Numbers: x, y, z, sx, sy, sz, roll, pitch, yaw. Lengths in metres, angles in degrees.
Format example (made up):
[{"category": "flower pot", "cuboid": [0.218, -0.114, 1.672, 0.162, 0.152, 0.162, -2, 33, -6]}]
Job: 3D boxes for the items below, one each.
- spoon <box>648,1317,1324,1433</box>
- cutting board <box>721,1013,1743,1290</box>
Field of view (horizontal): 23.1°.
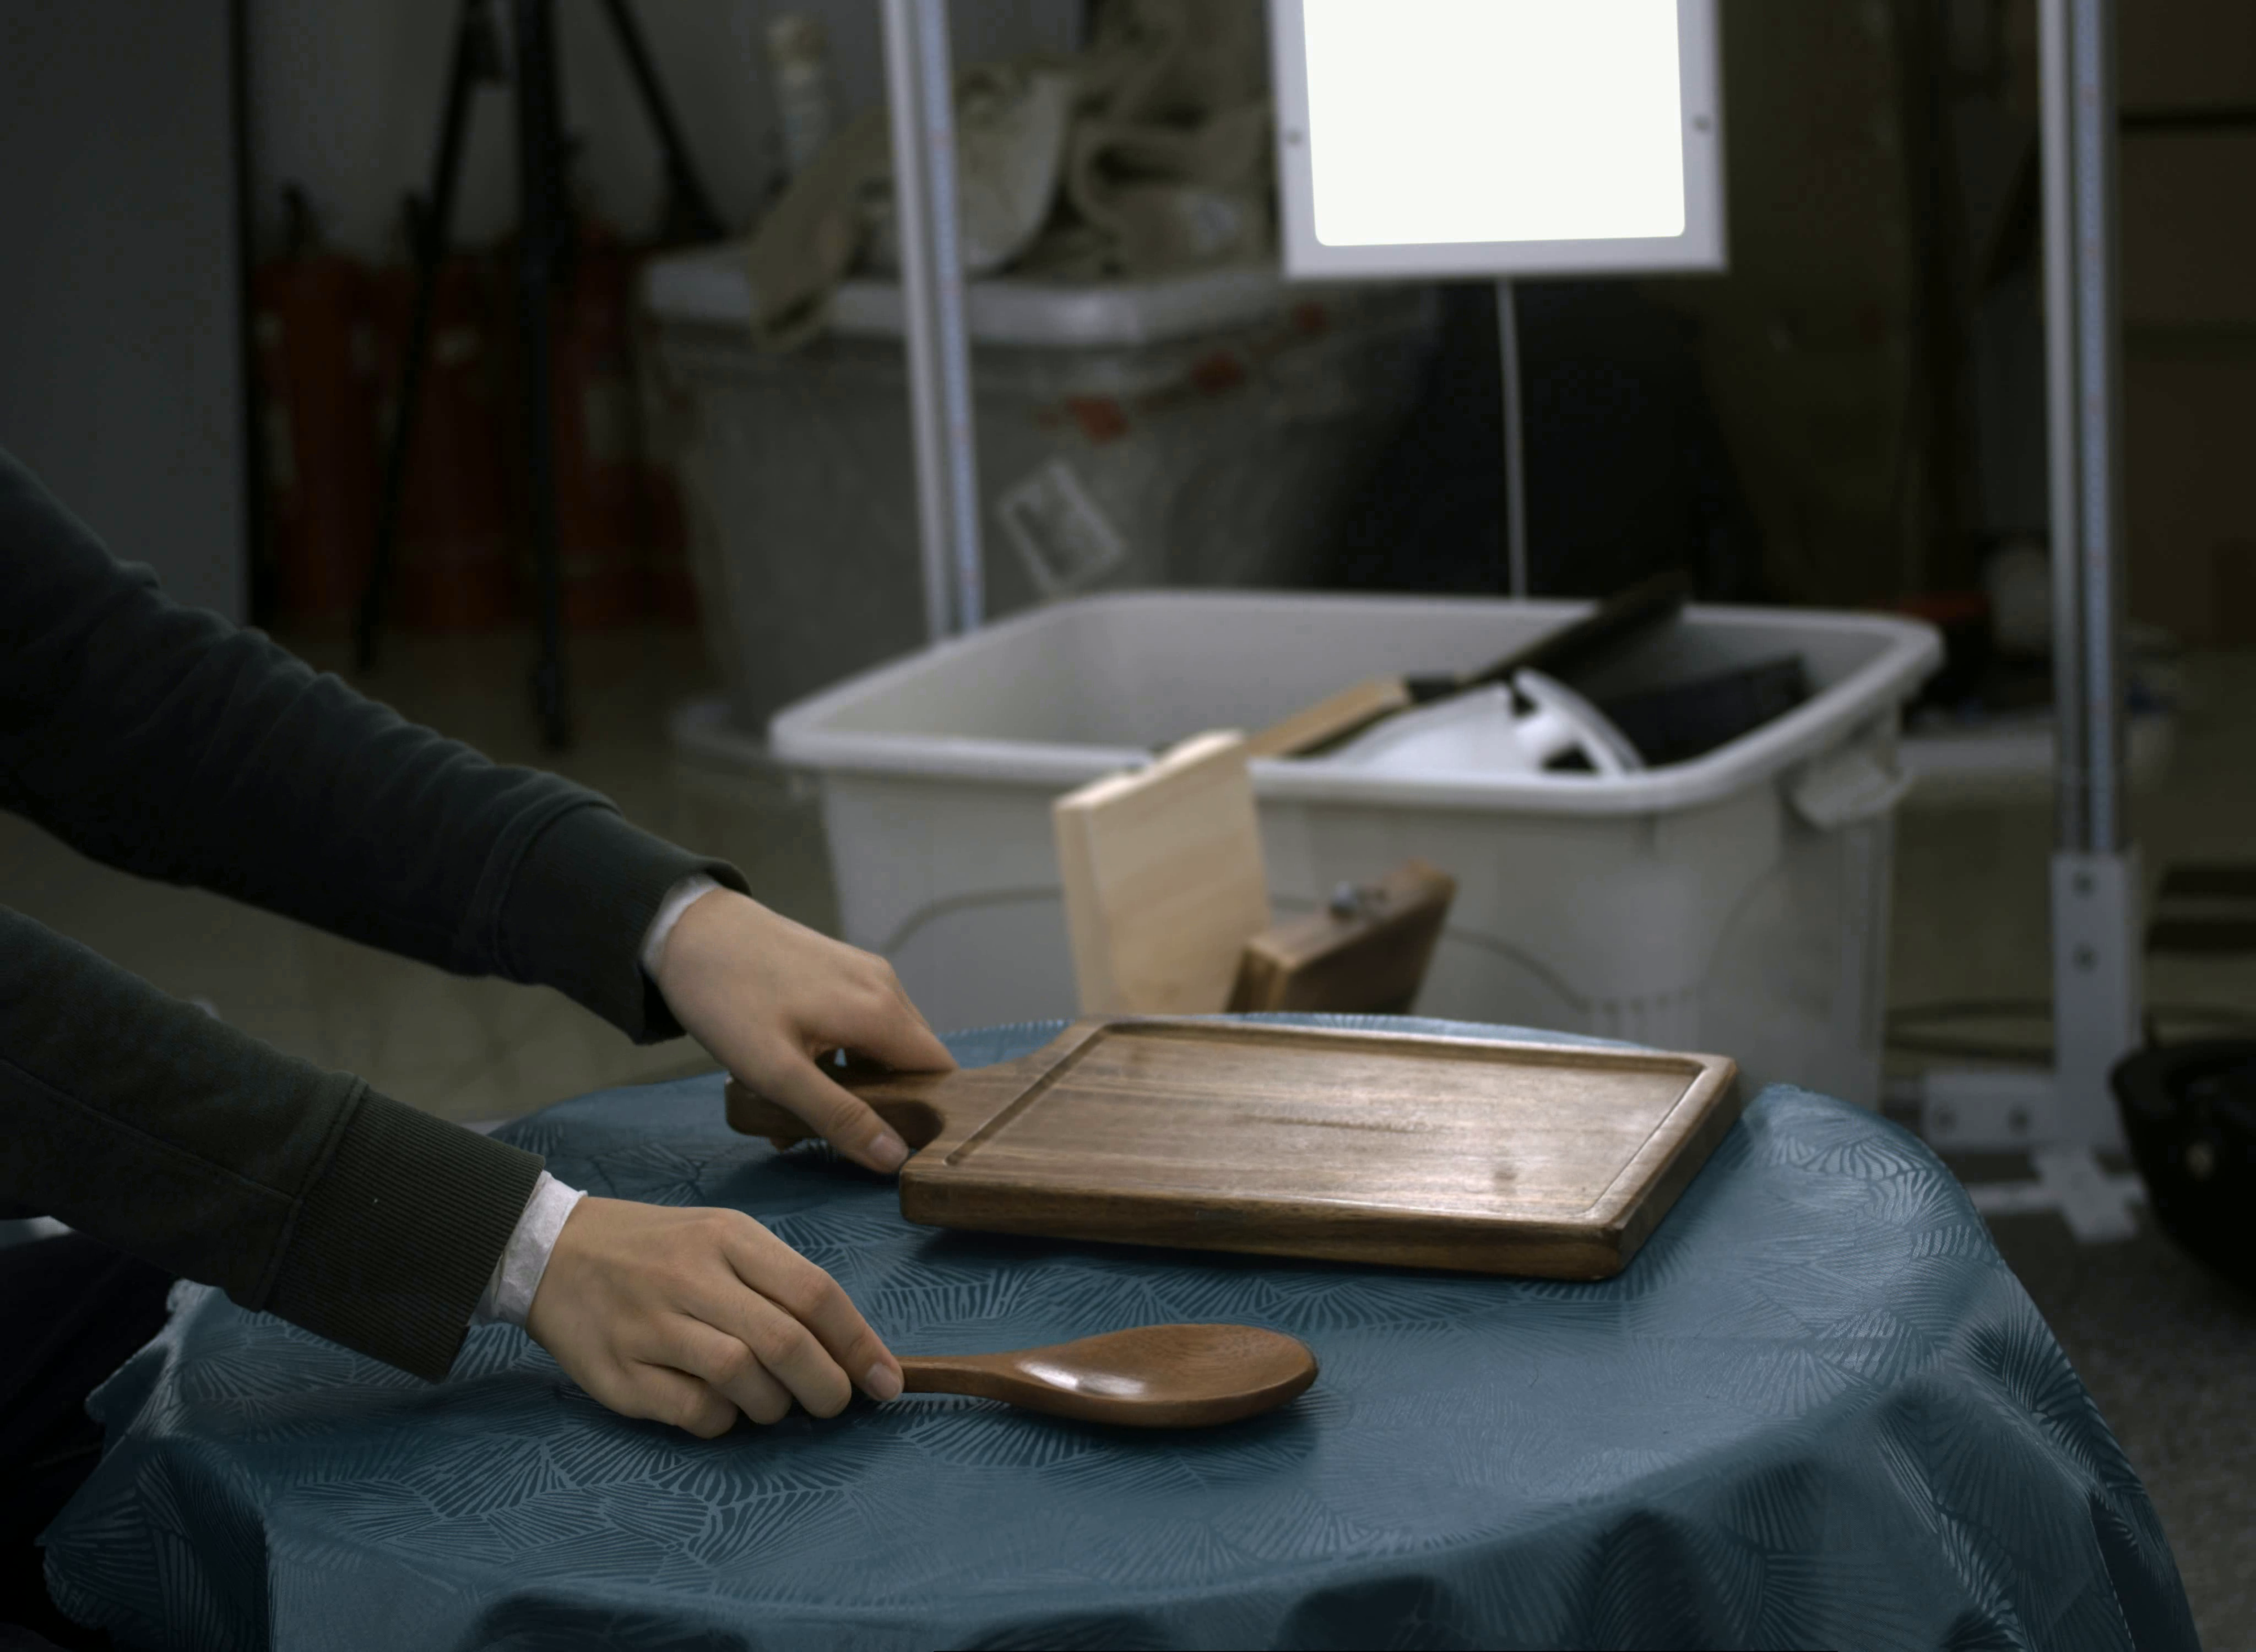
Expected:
[{"category": "spoon", "cuboid": [-0.045, 0.169, 1.699, 0.218, 0.017, 0.074, 0, 17, 17]}, {"category": "cutting board", "cuboid": [0.024, 0.106, 1.905, 0.357, 0.023, 0.197, 3, 17, 21]}]
